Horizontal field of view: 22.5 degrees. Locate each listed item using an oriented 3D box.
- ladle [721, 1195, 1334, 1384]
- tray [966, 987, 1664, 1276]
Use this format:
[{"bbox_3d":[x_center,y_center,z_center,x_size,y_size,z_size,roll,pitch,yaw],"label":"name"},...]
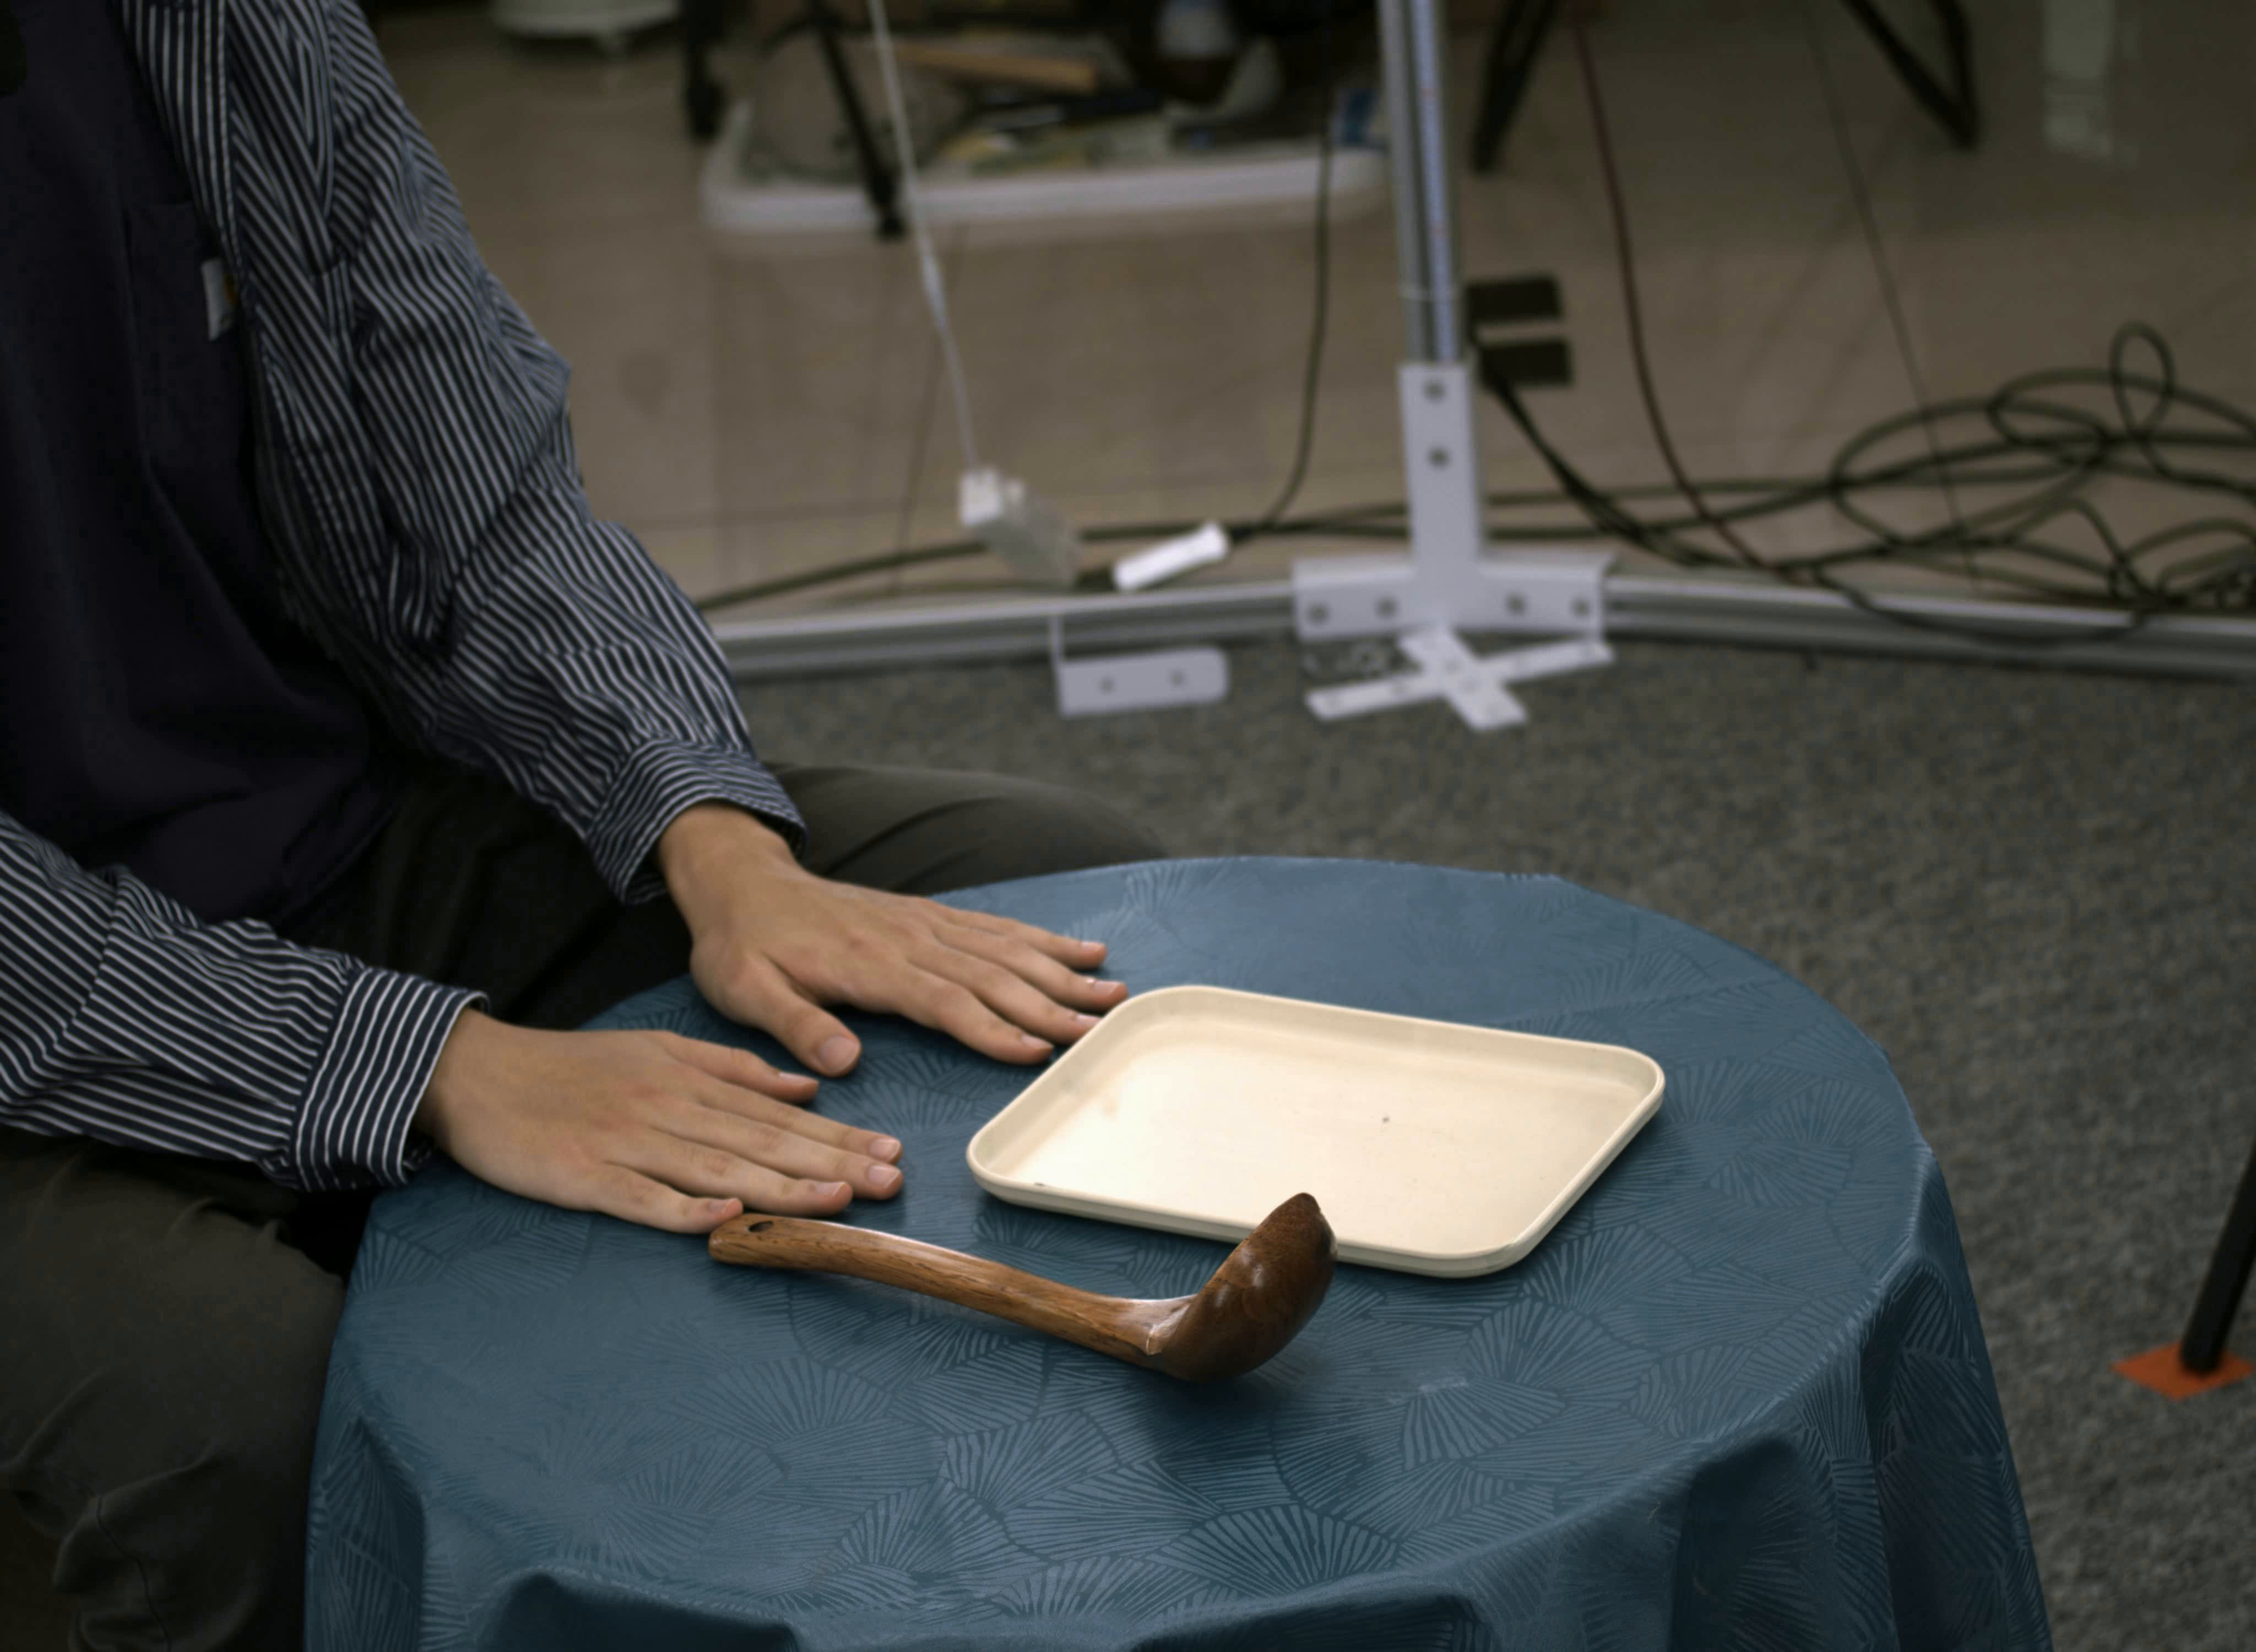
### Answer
[{"bbox_3d":[-0.045,0.147,2.055,0.272,0.078,0.081,13,28,35],"label":"ladle"},{"bbox_3d":[0.072,0.116,2.161,0.238,0.018,0.169,8,28,28],"label":"tray"}]
